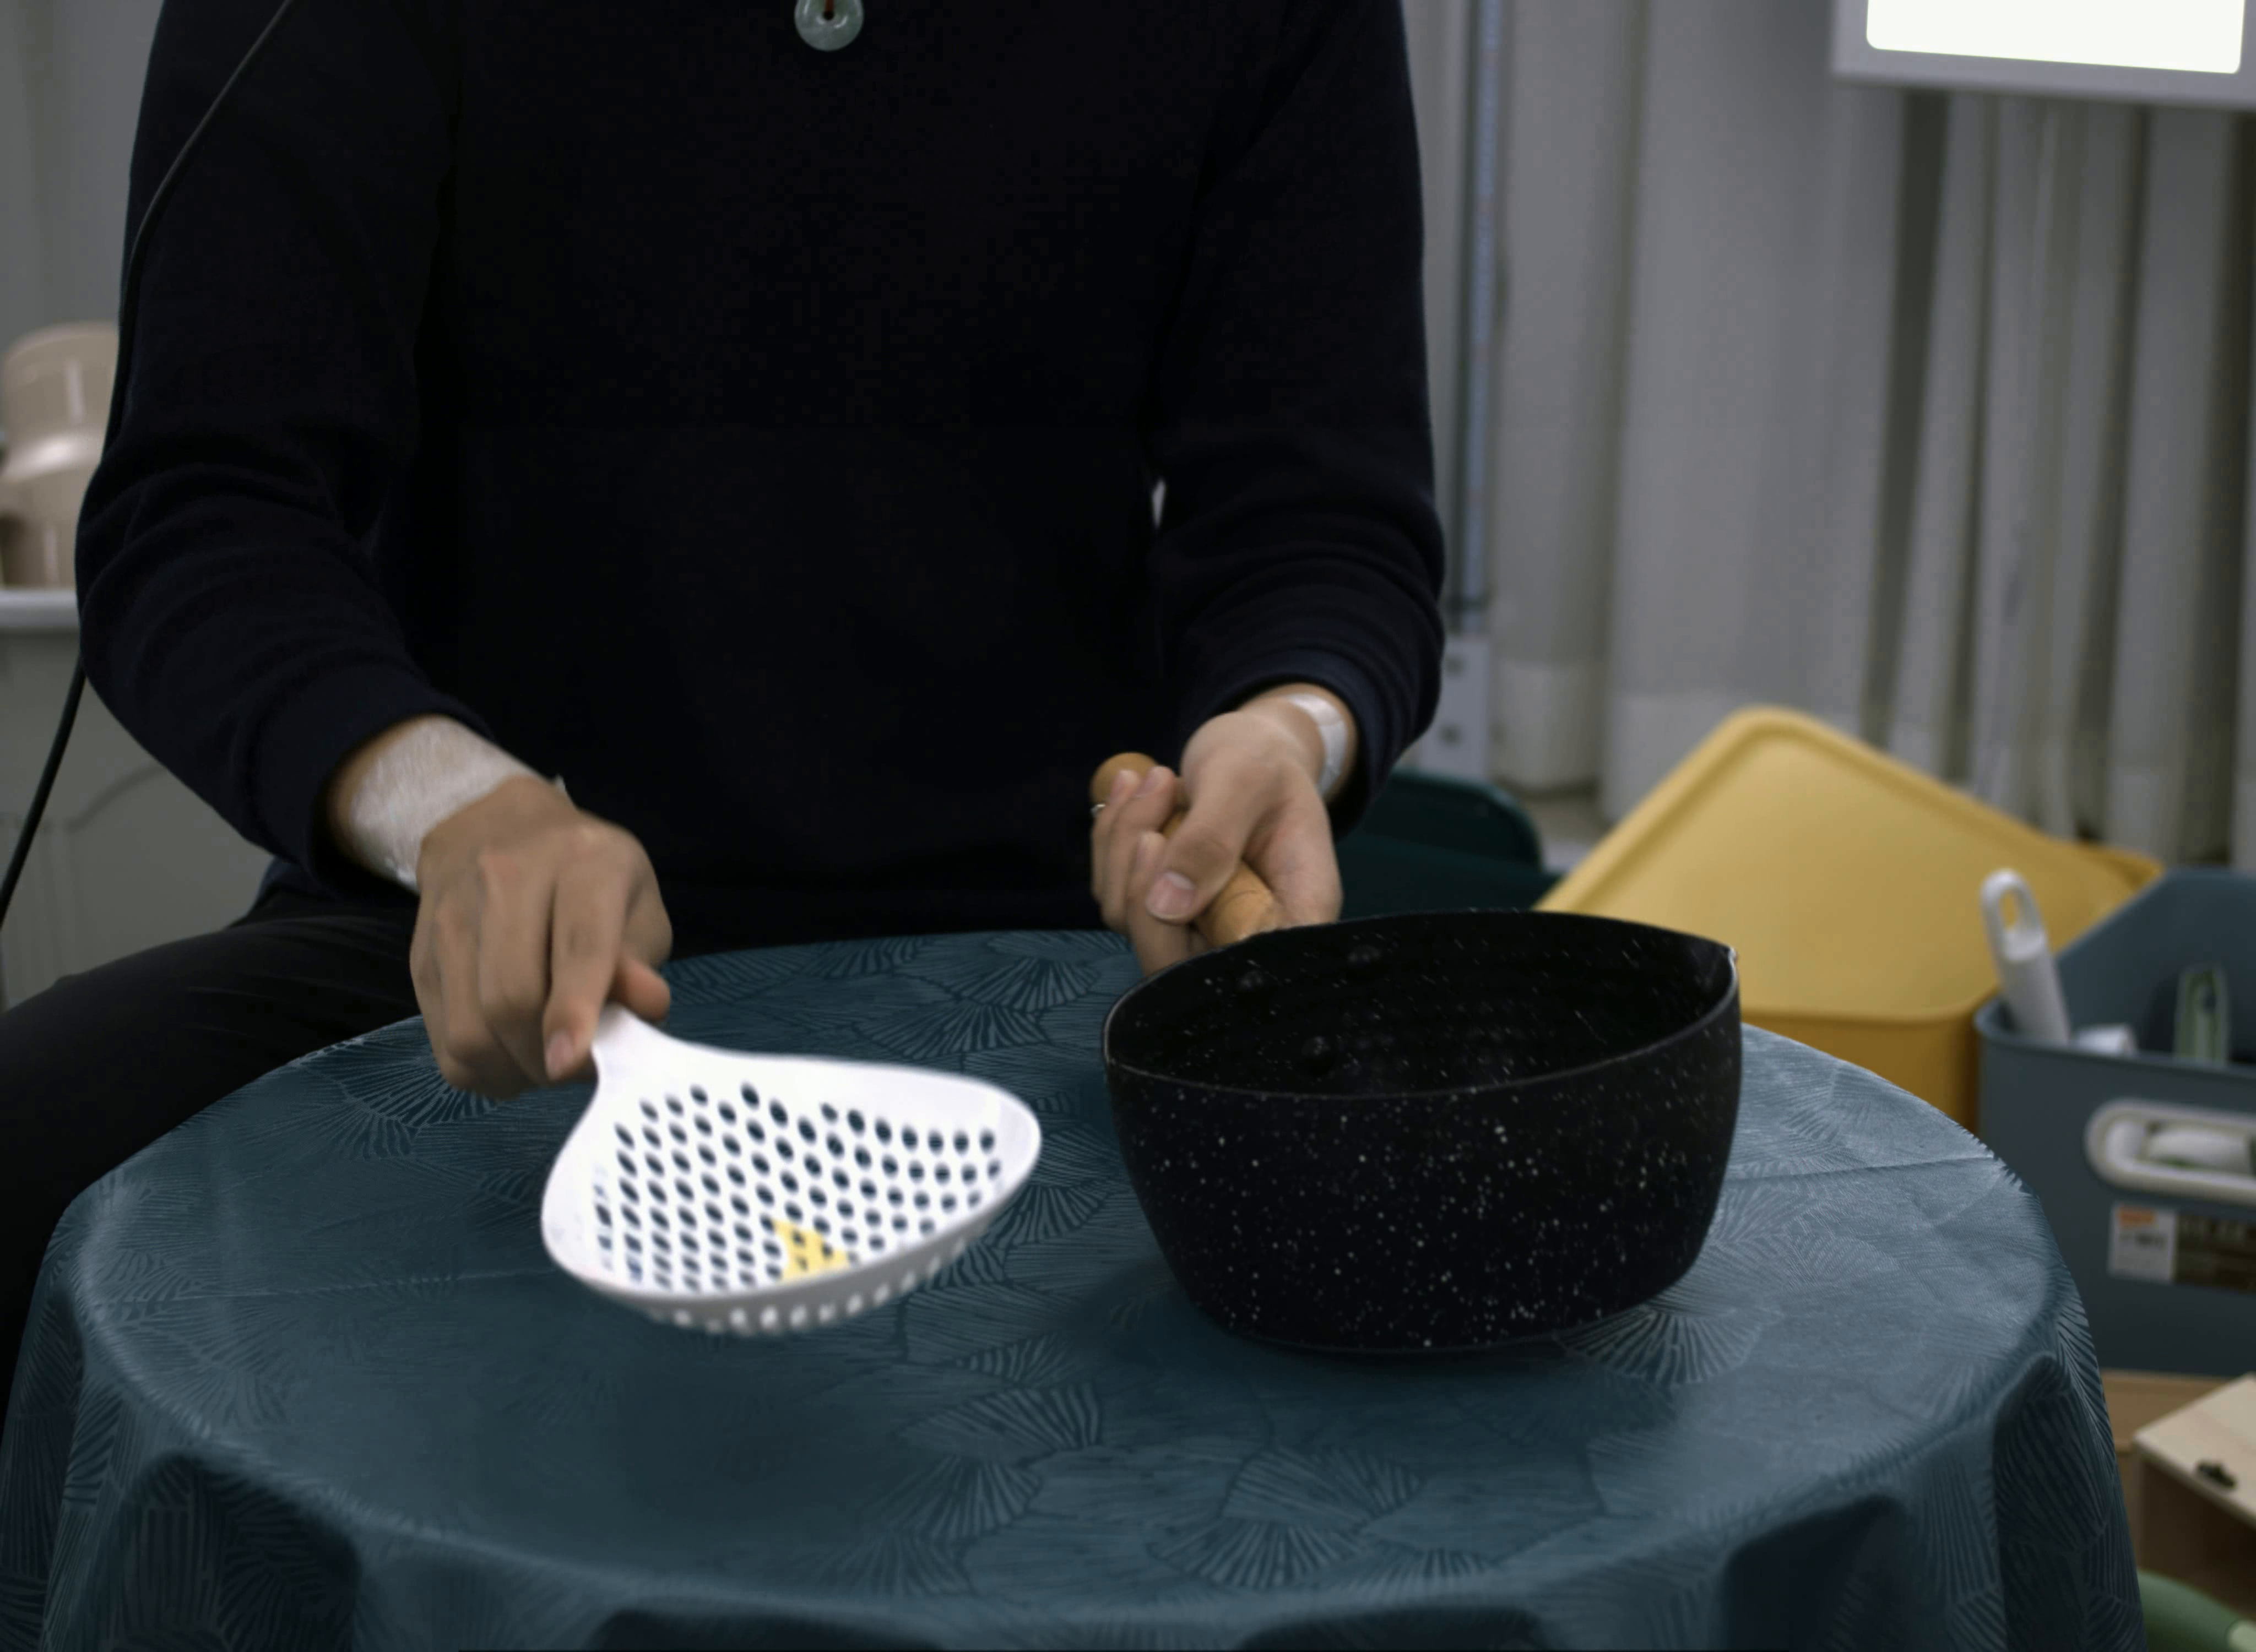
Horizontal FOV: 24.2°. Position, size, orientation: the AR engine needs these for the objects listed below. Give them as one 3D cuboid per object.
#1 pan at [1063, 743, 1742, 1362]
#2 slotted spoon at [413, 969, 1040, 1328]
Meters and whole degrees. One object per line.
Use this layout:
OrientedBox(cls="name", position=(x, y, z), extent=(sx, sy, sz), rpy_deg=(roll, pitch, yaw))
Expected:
OrientedBox(cls="pan", position=(0.058, 0.062, 1.598), extent=(0.208, 0.109, 0.339), rpy_deg=(-12, 17, -19))
OrientedBox(cls="slotted spoon", position=(-0.137, 0.076, 1.497), extent=(0.137, 0.051, 0.343), rpy_deg=(-21, 26, -21))
